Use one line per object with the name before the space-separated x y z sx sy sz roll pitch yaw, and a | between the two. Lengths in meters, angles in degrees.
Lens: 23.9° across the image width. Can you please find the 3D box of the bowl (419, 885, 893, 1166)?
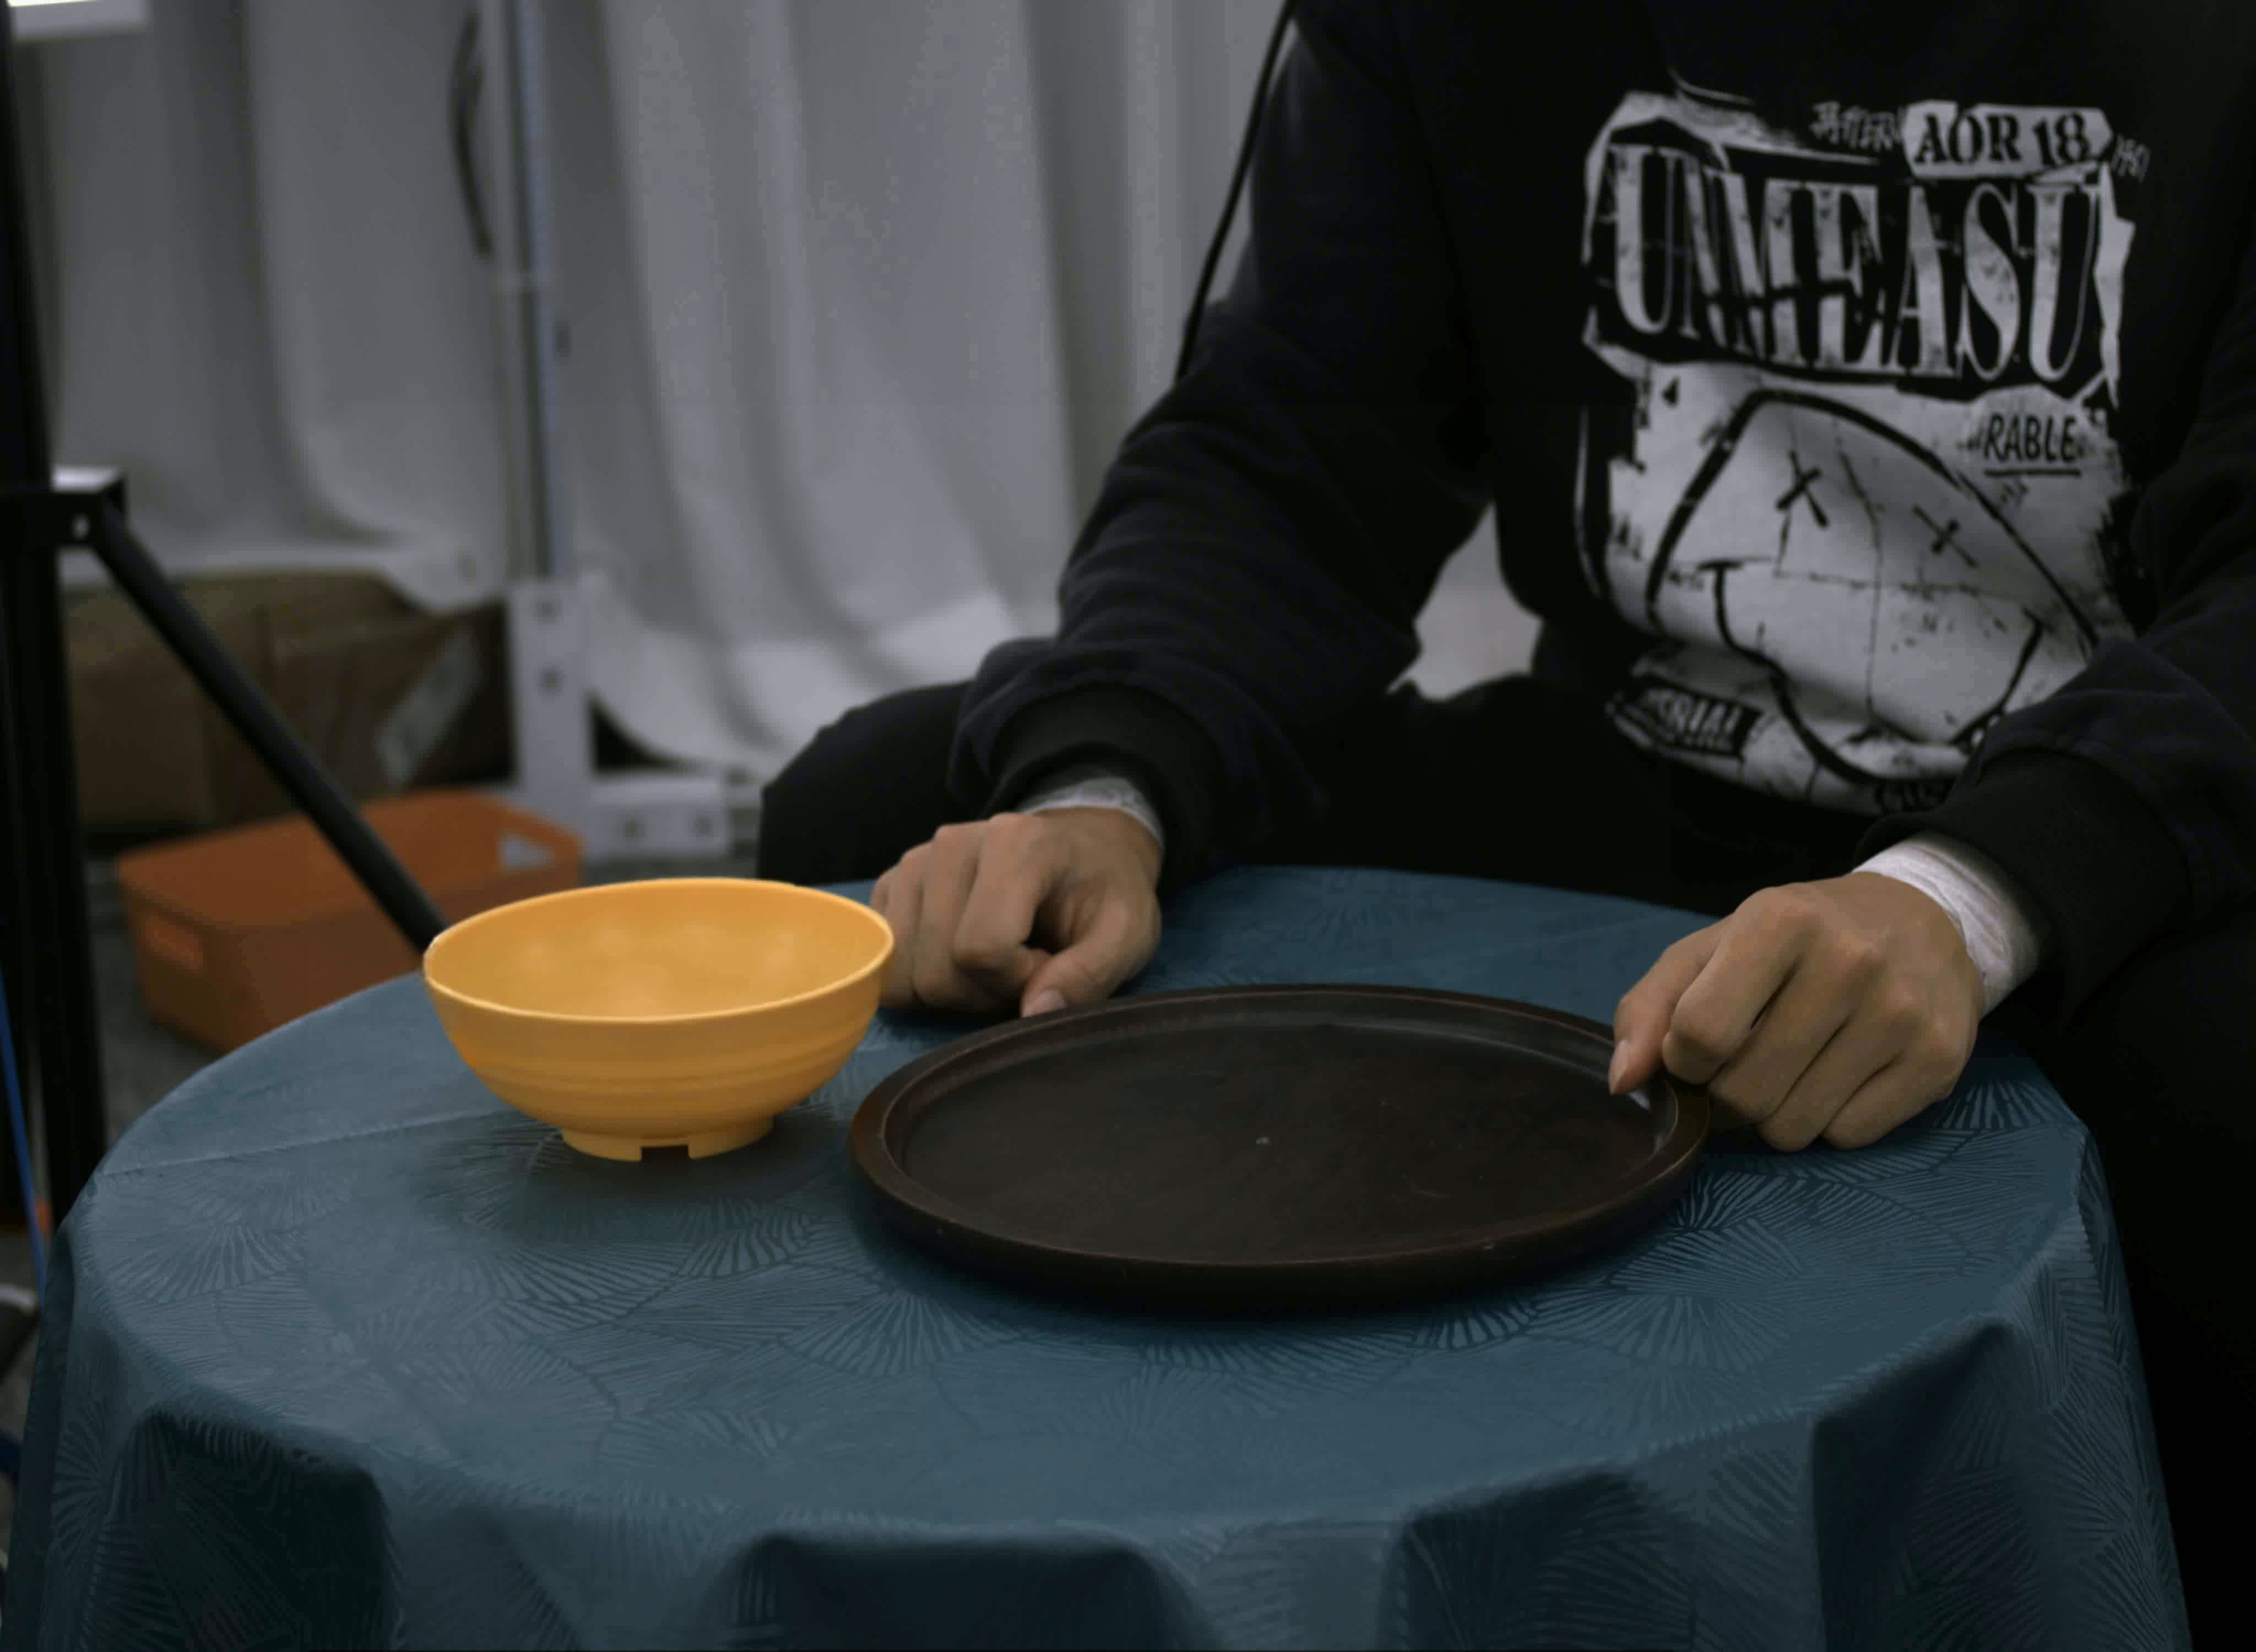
bowl | -0.143 0.066 1.630 0.144 0.060 0.146 0 15 -1

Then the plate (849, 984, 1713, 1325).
plate | 0.045 0.094 1.559 0.253 0.029 0.256 -4 15 0
